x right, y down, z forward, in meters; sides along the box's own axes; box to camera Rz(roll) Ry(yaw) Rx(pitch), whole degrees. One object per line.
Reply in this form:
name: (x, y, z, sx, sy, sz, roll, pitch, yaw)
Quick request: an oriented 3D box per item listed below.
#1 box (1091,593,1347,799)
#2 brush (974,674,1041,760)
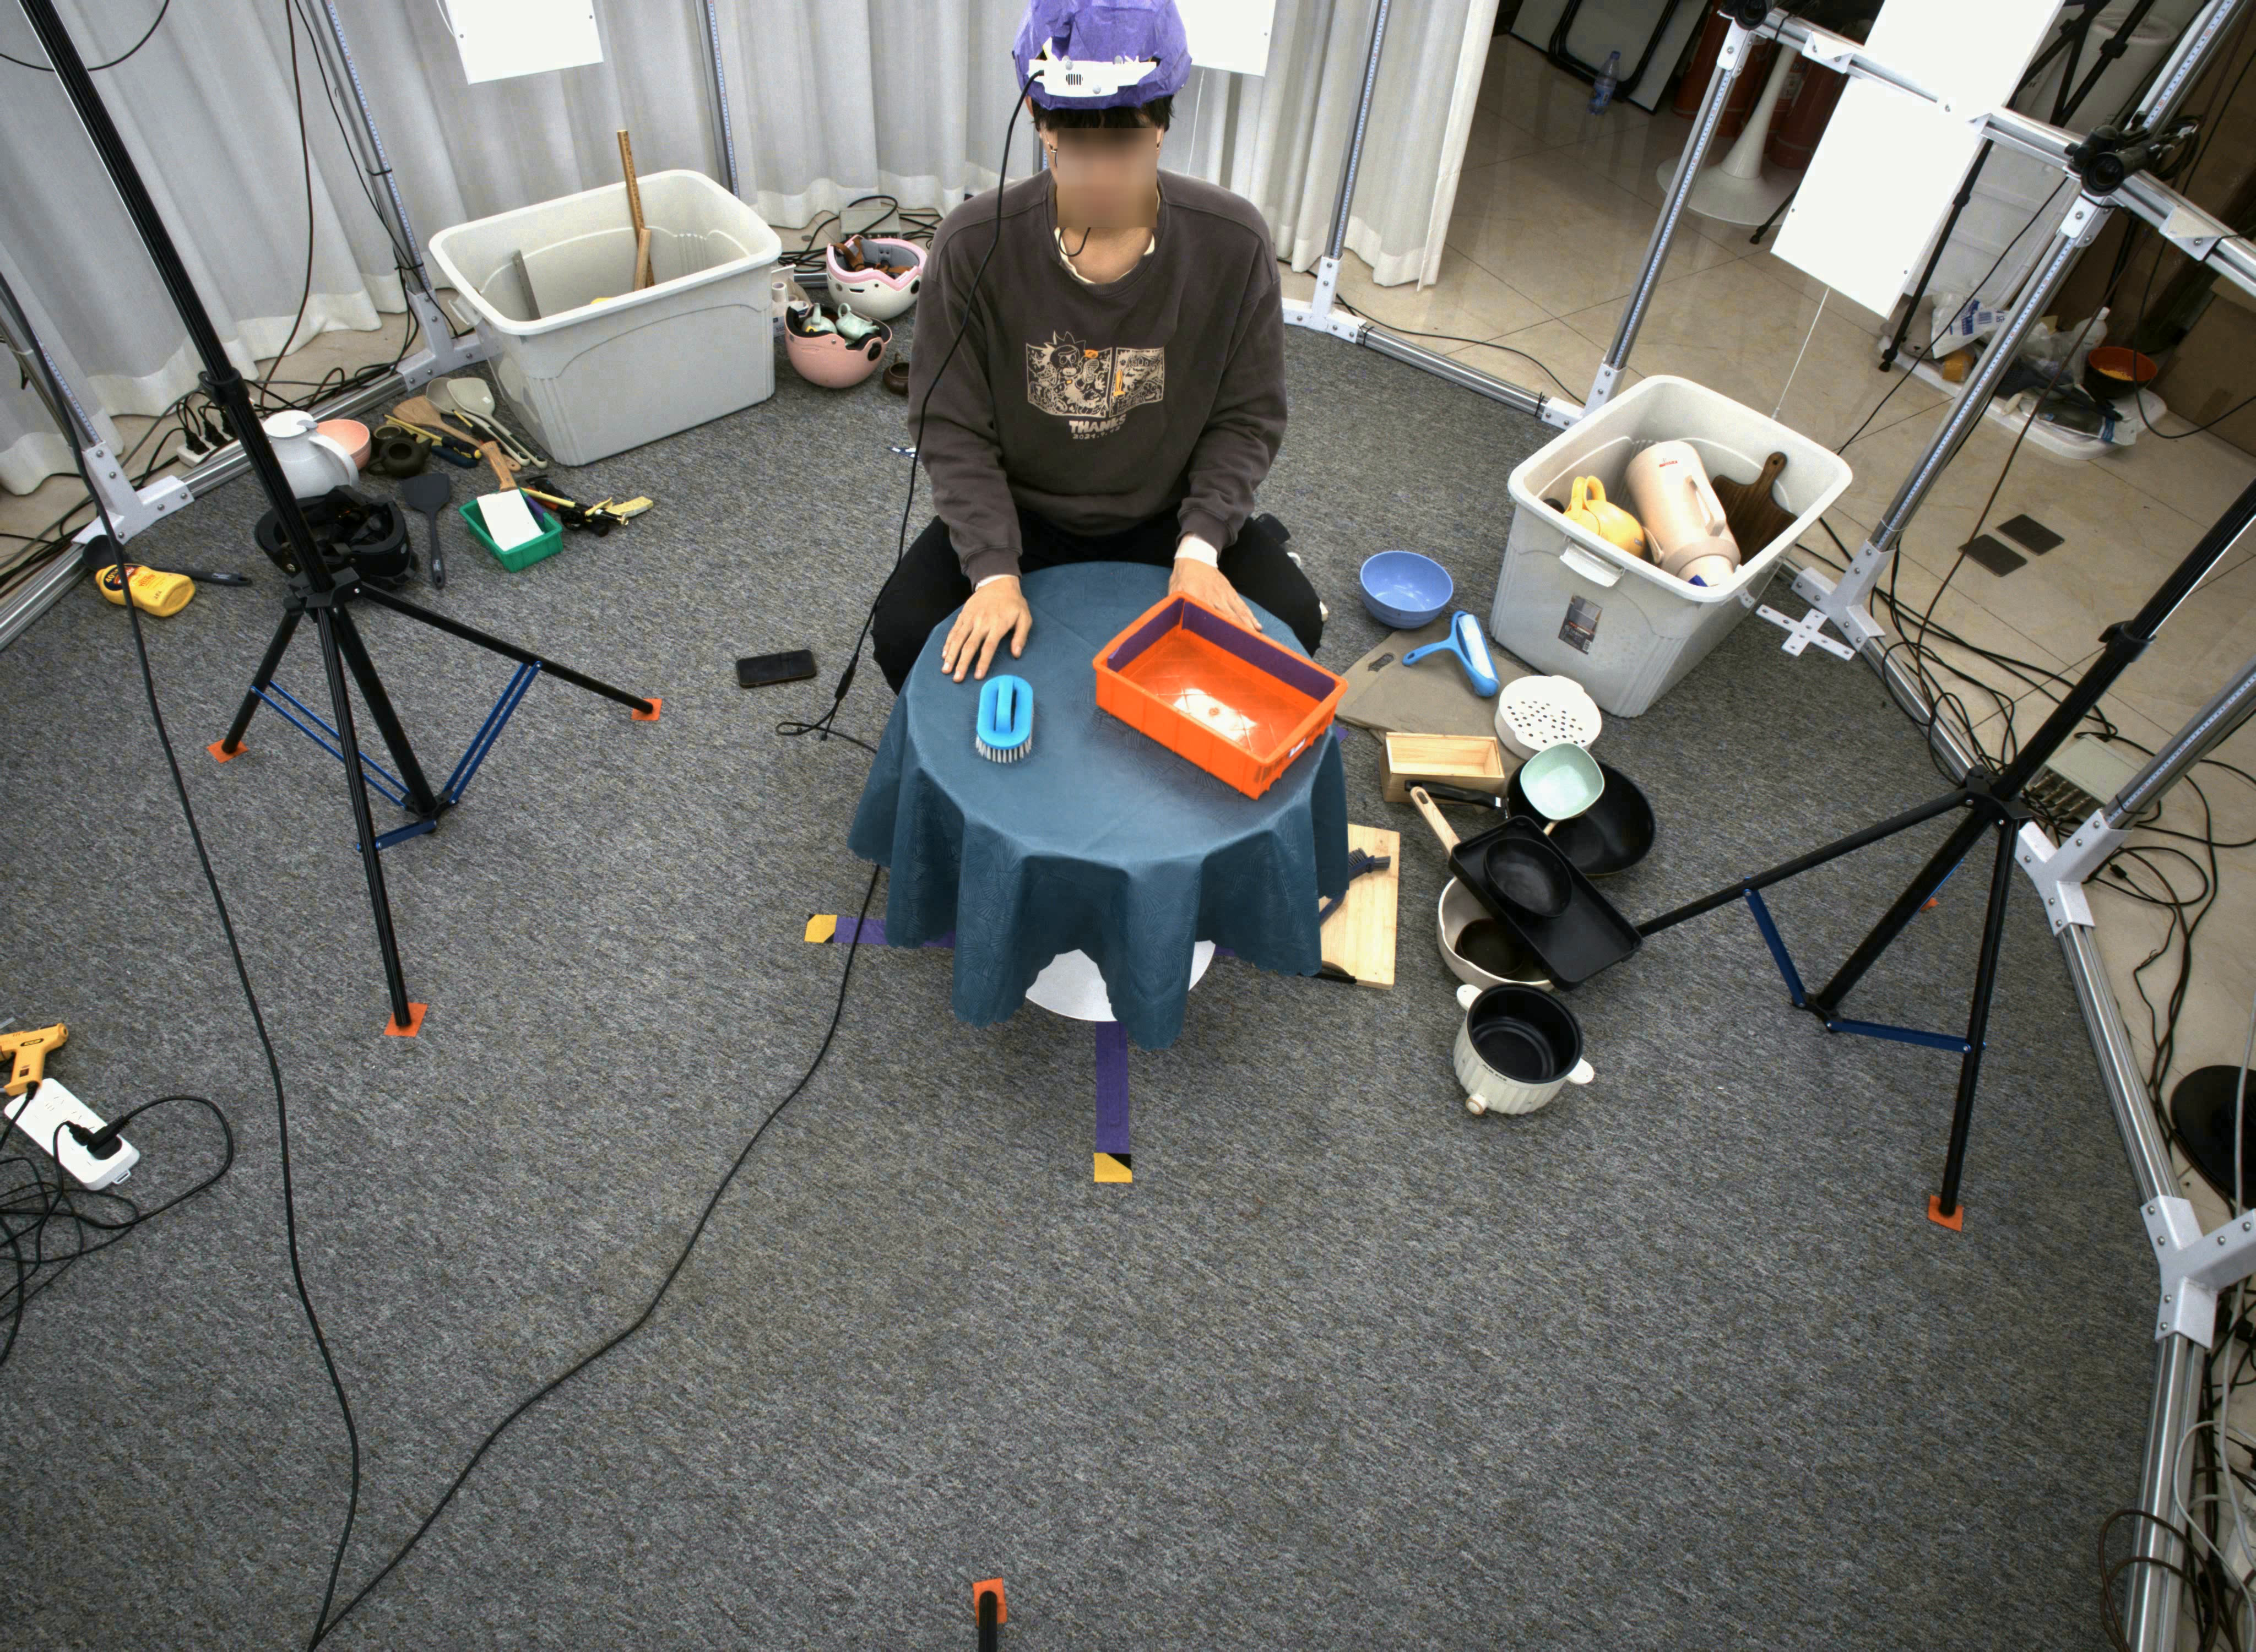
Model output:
box: (0.122, -0.182, 1.776, 0.307, 0.094, 0.209, 33, 55, 23)
brush: (-0.164, -0.160, 1.752, 0.084, 0.062, 0.145, 1, 48, 3)
